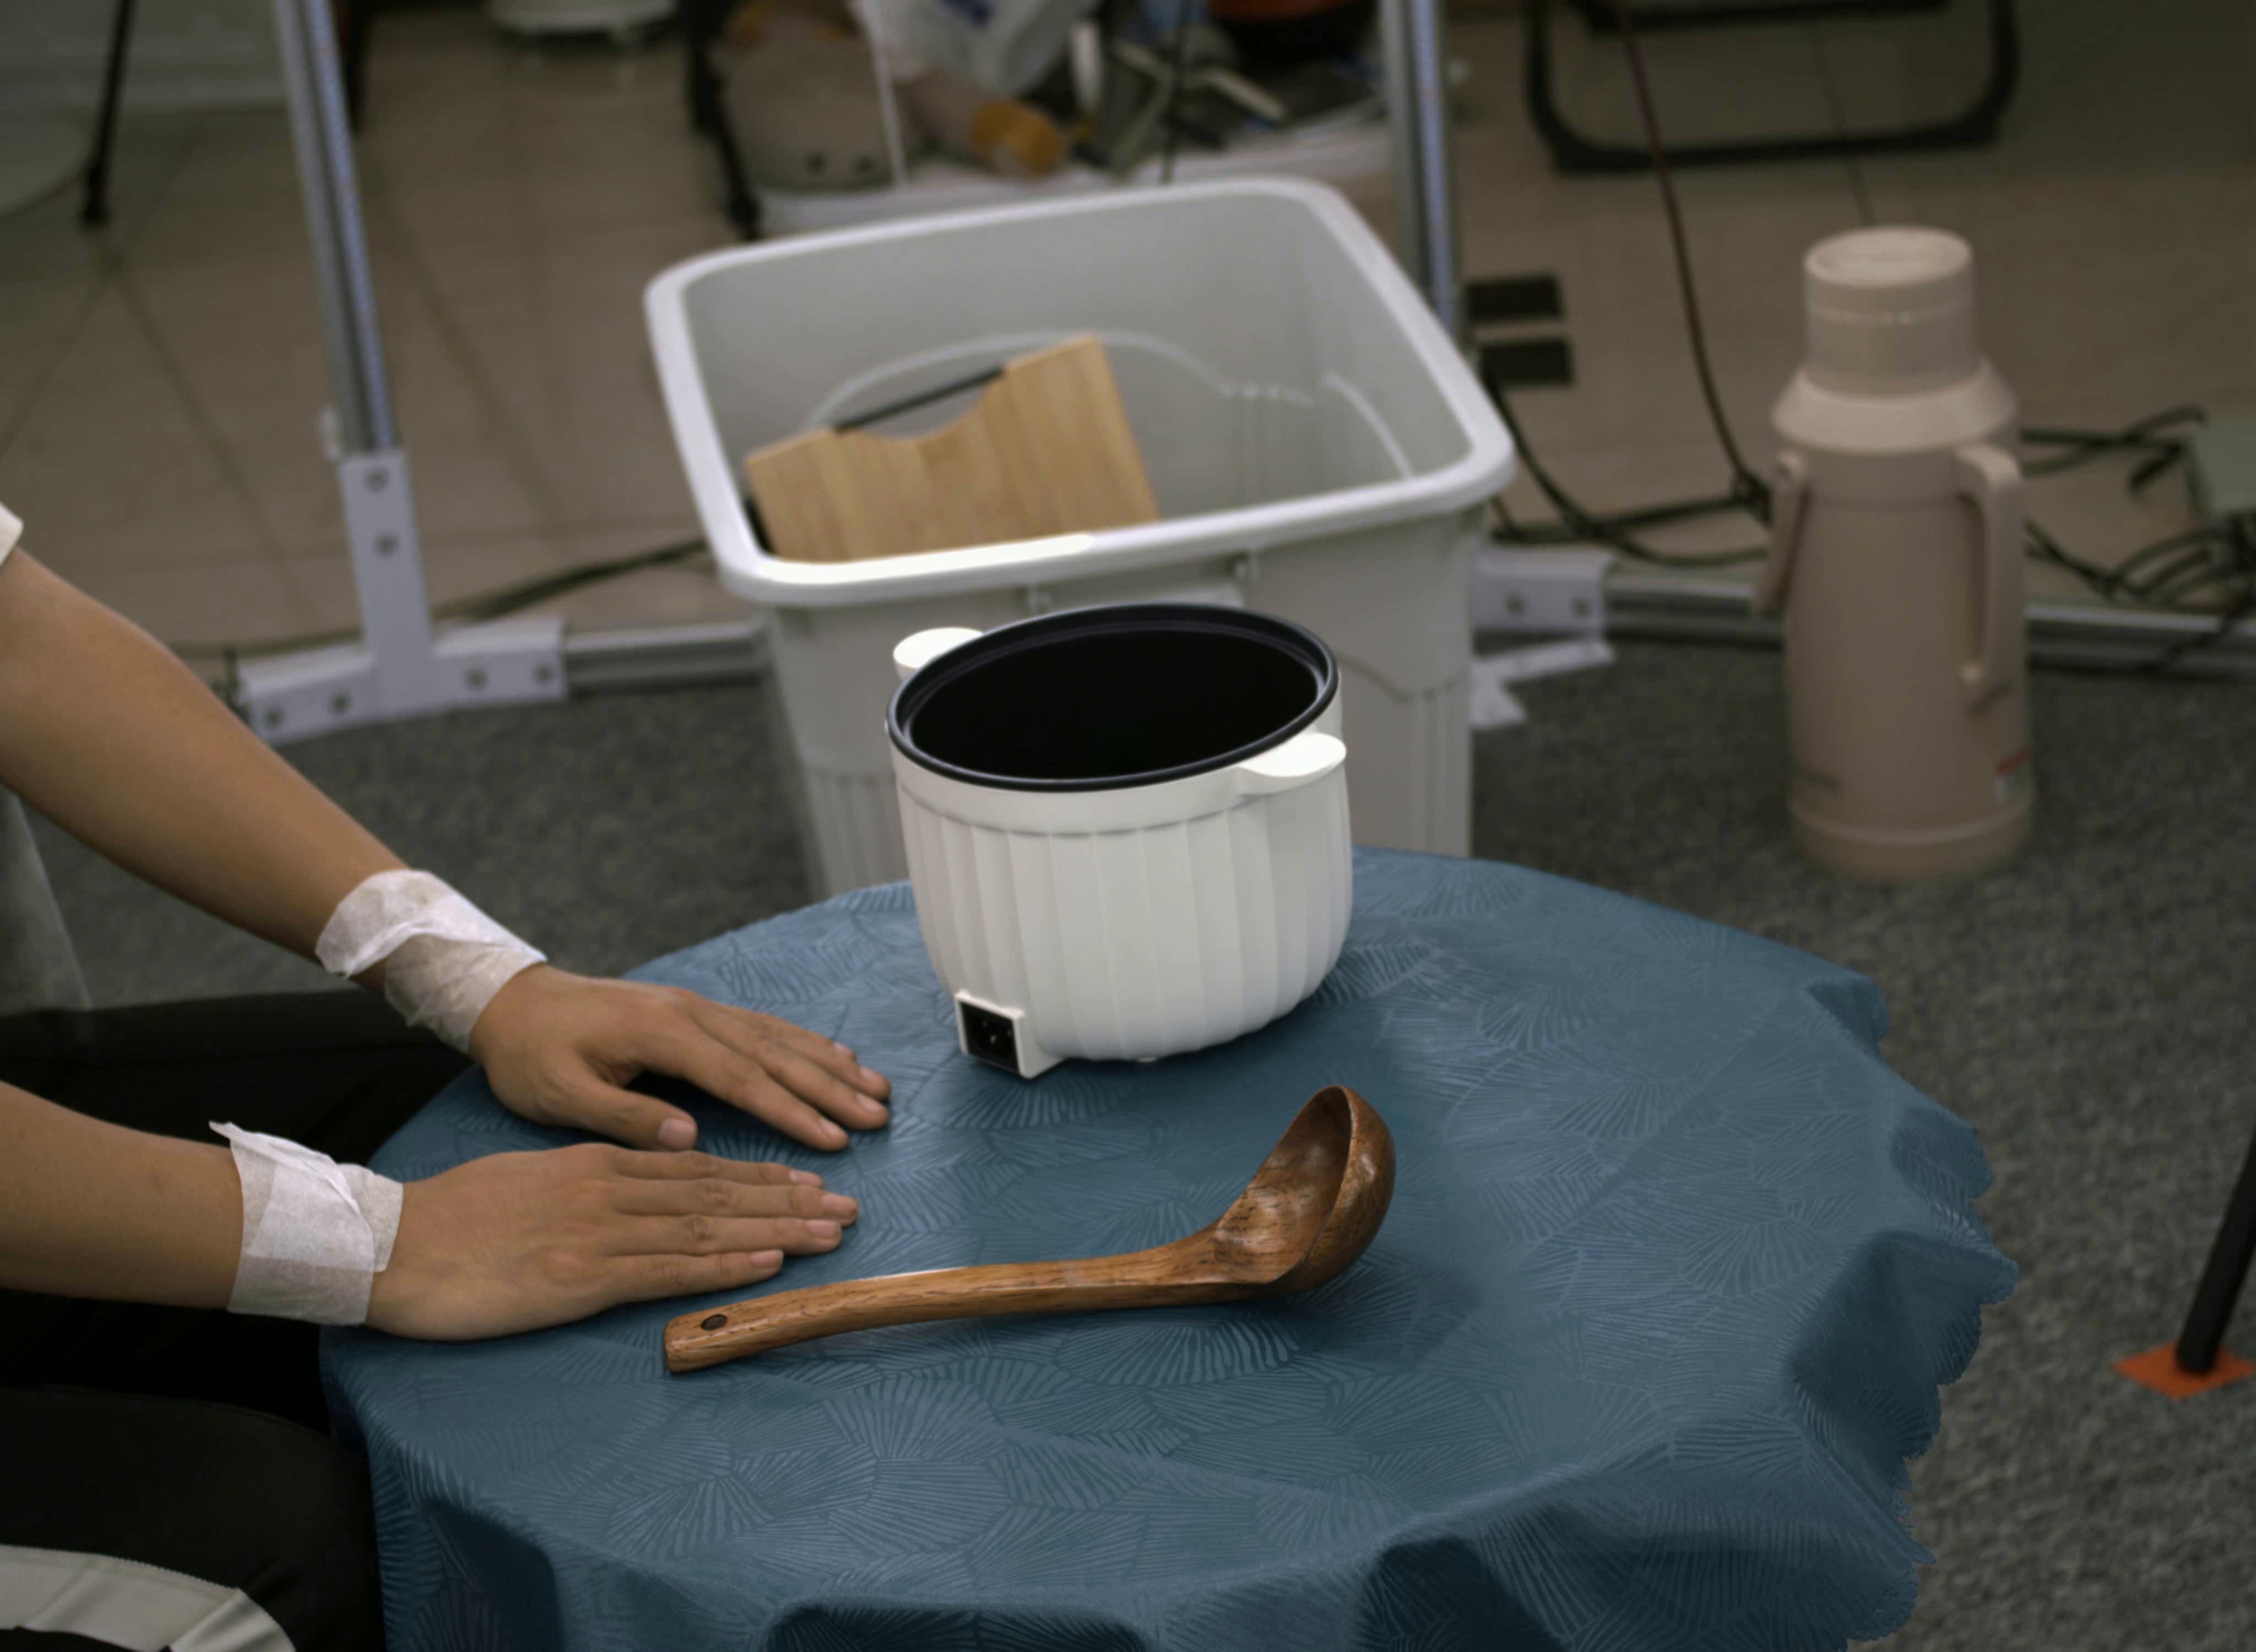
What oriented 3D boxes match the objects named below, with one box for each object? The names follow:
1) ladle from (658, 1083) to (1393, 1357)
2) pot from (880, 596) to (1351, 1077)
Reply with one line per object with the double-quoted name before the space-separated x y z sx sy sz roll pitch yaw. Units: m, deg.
"ladle" -0.039 0.145 2.055 0.273 0.078 0.080 -6 27 1
"pot" 0.003 0.002 2.275 0.238 0.145 0.189 19 39 41
